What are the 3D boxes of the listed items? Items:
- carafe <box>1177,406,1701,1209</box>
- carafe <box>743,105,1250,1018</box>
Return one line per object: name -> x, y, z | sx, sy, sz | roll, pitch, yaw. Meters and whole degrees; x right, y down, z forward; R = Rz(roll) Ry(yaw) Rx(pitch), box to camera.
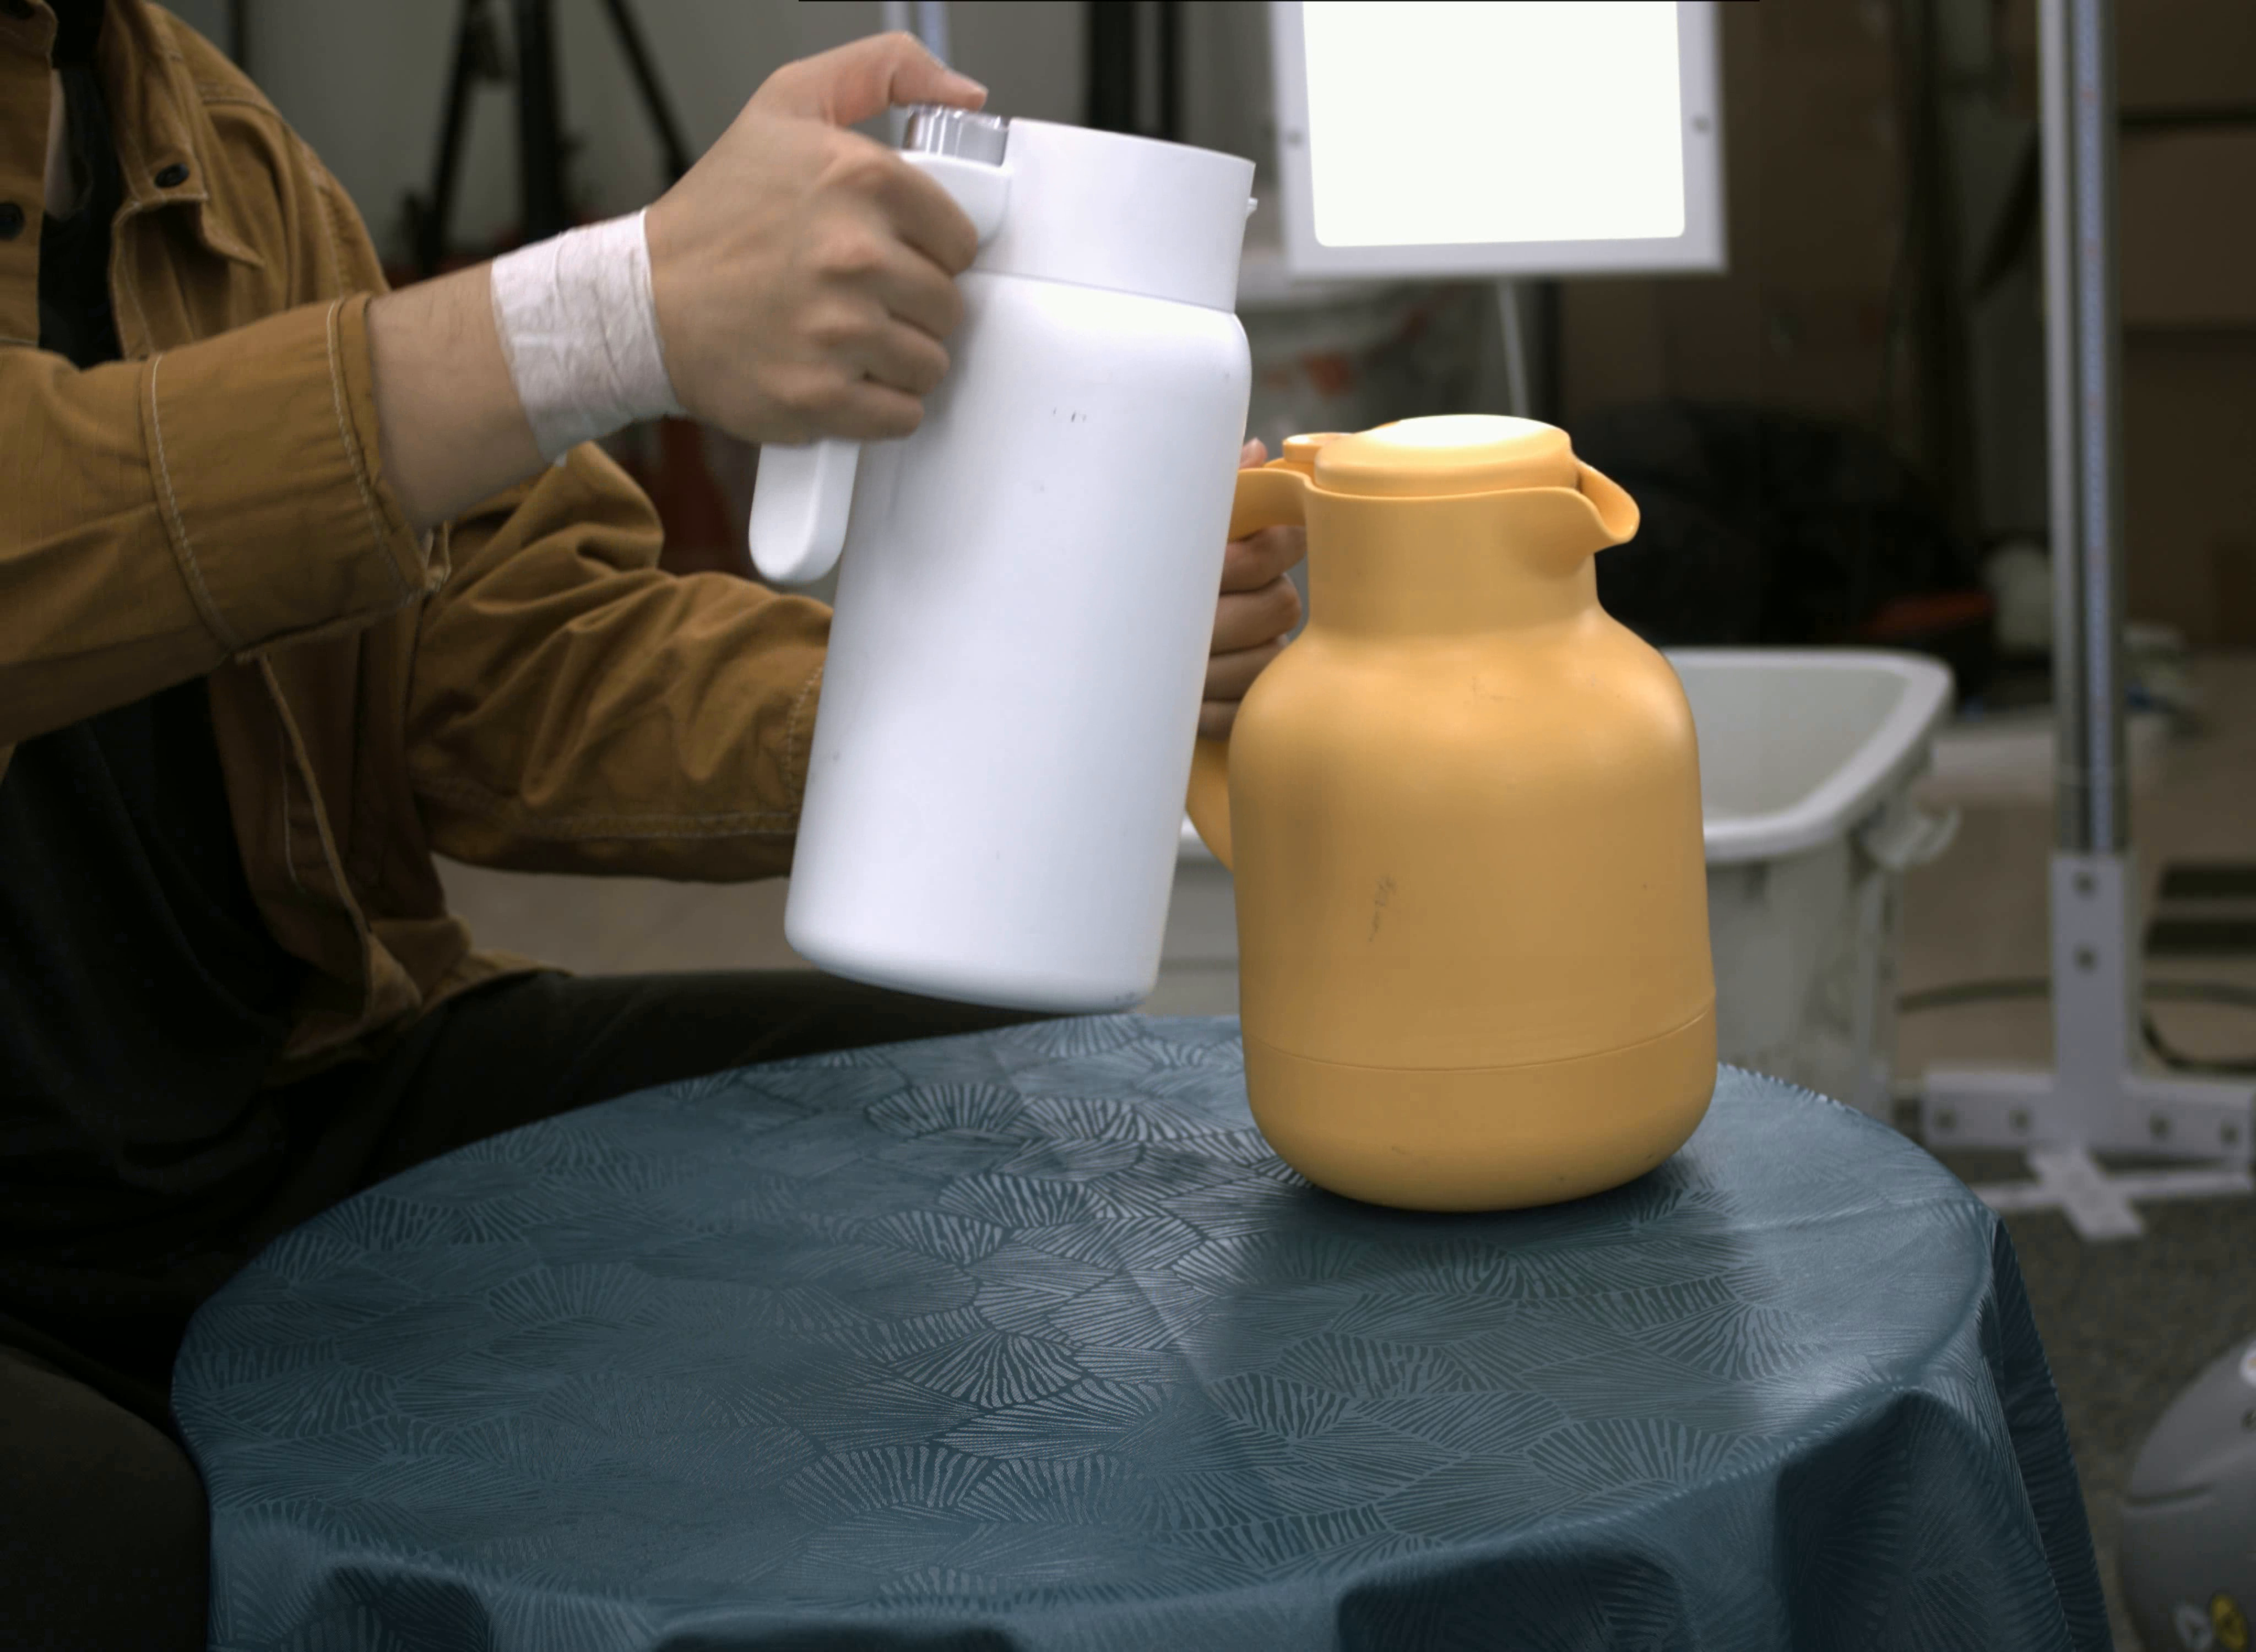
carafe -> 0.099, -0.013, 1.876 | 0.207, 0.261, 0.159 | 11, 18, 43
carafe -> -0.042, -0.081, 1.680 | 0.168, 0.270, 0.126 | 4, 8, -42
